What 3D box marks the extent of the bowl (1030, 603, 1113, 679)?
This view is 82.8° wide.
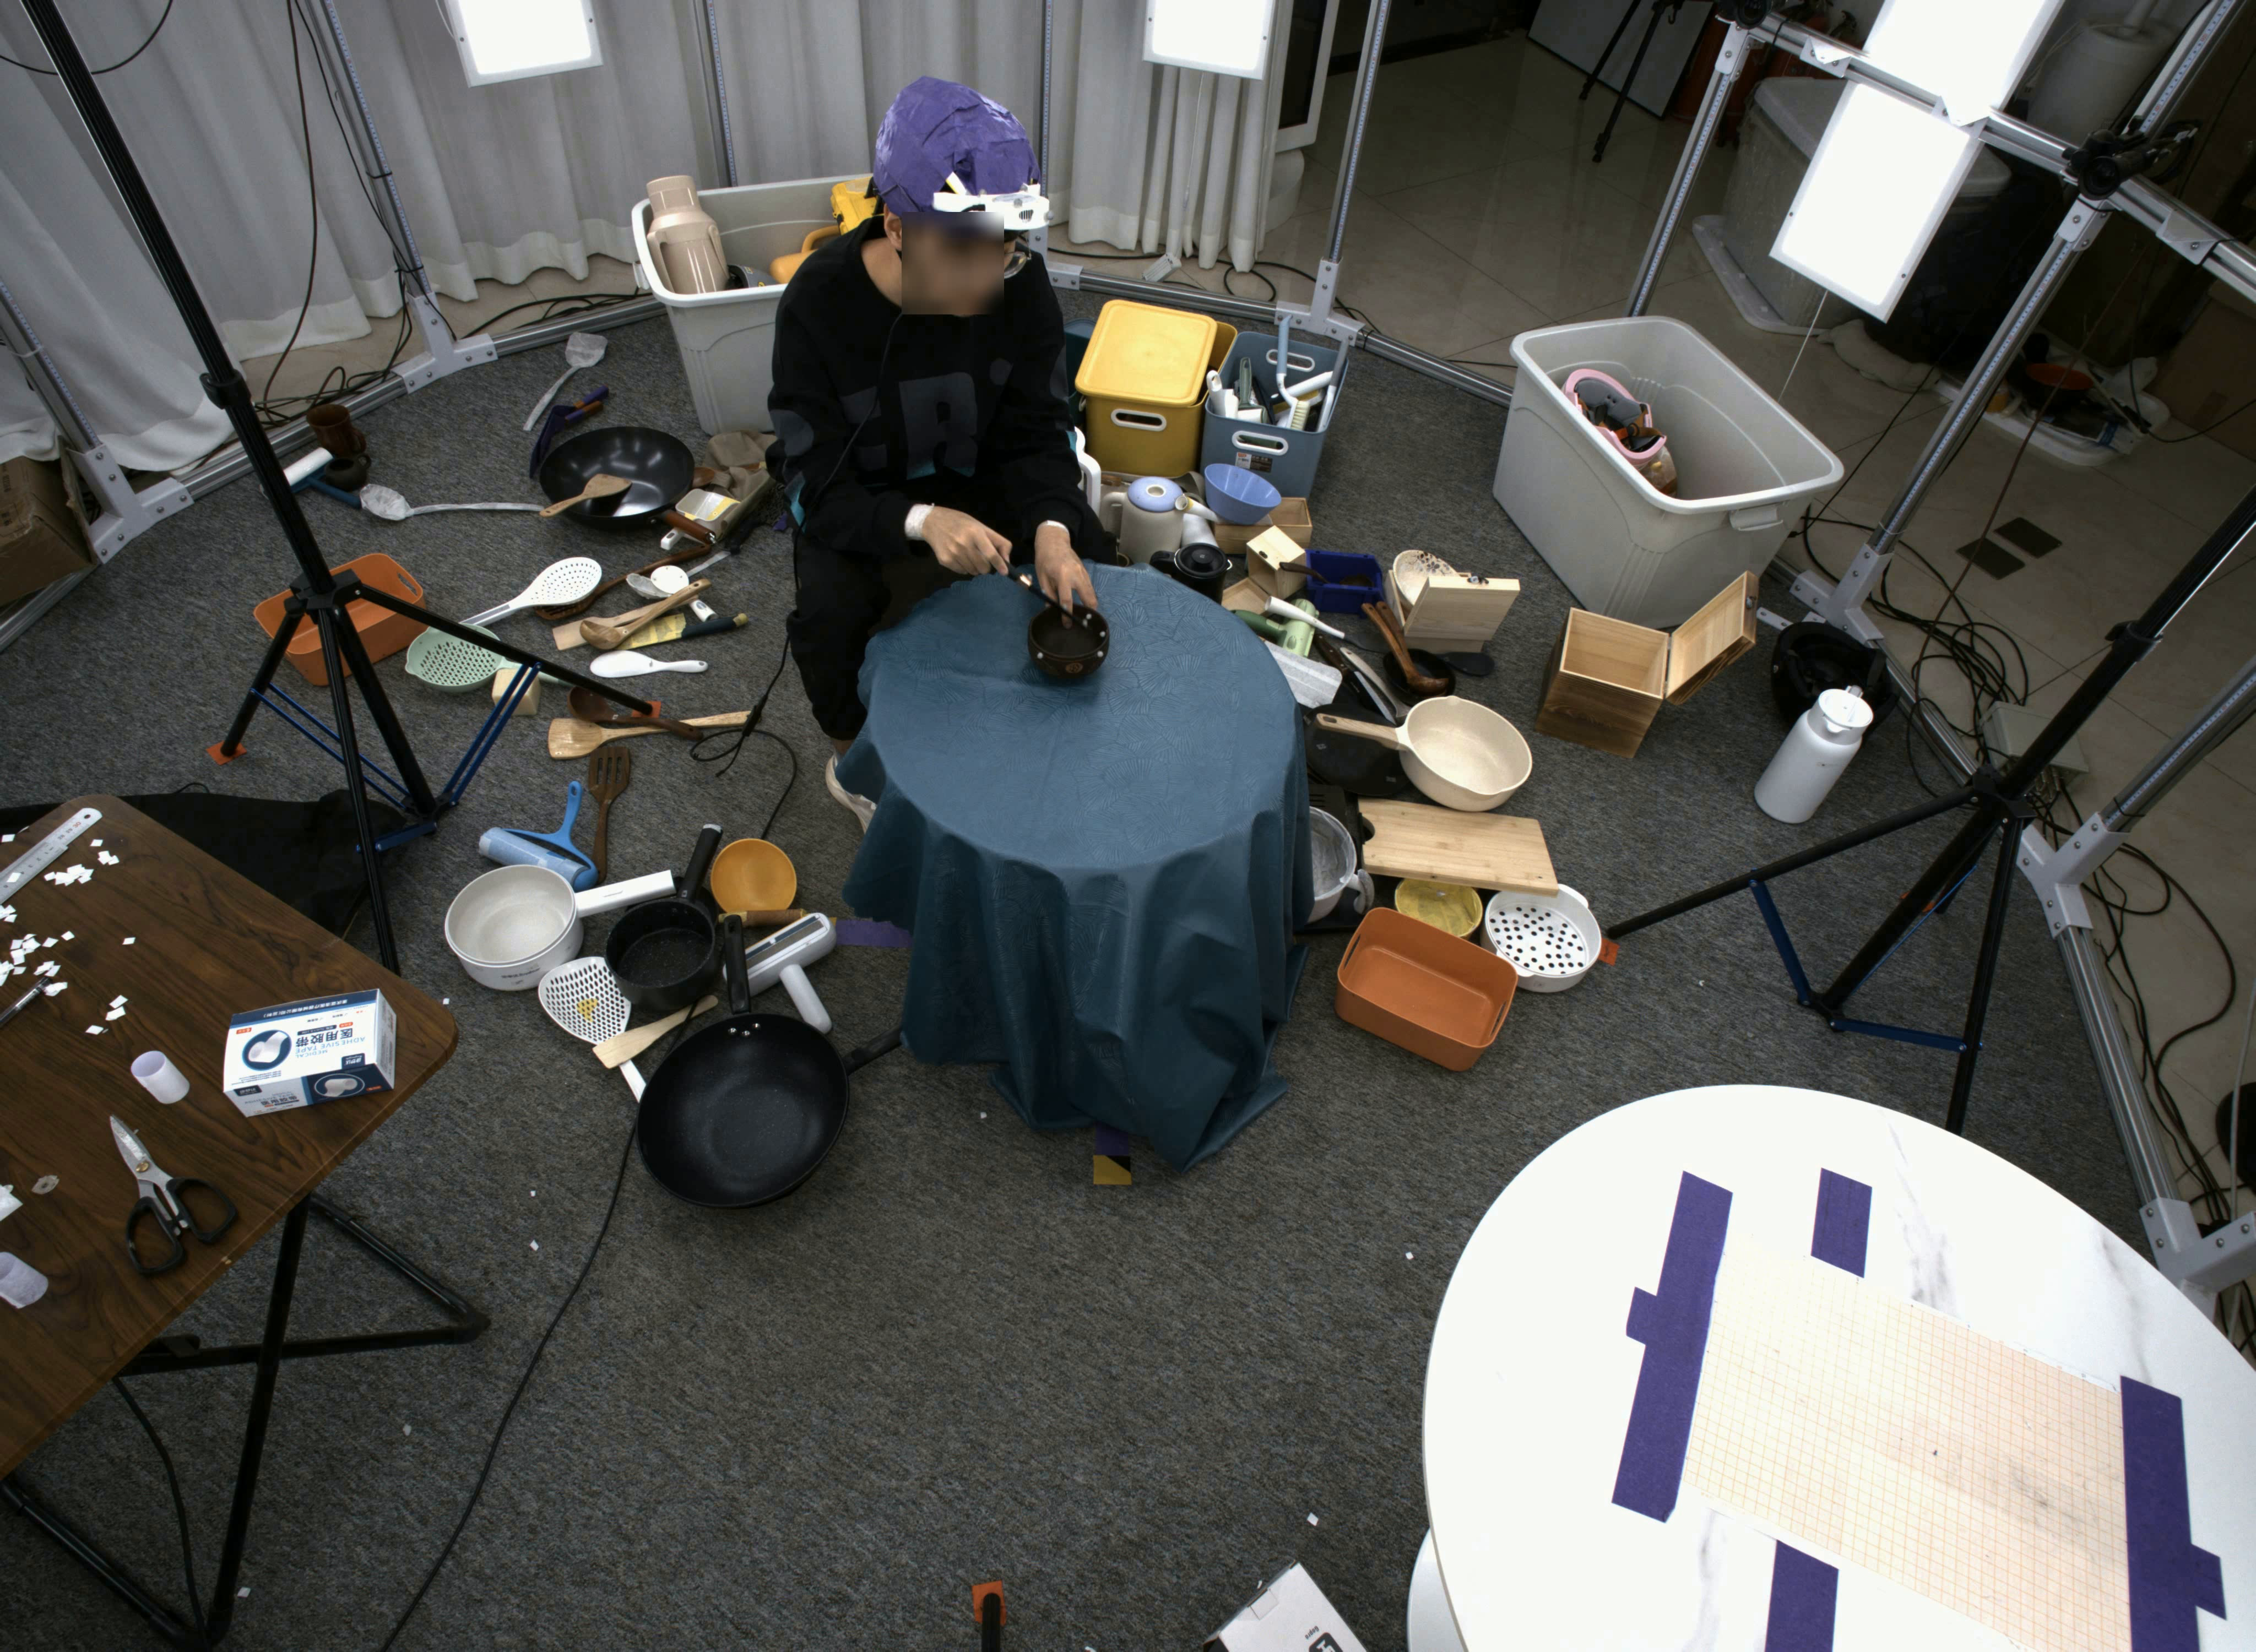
[{"bbox_3d":[-0.081,-0.256,1.837,0.118,0.068,0.121,2,47,-3],"label":"bowl"}]

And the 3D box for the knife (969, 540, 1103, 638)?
[{"bbox_3d":[-0.128,-0.330,1.804,0.225,0.017,0.026,37,30,0],"label":"knife"}]
